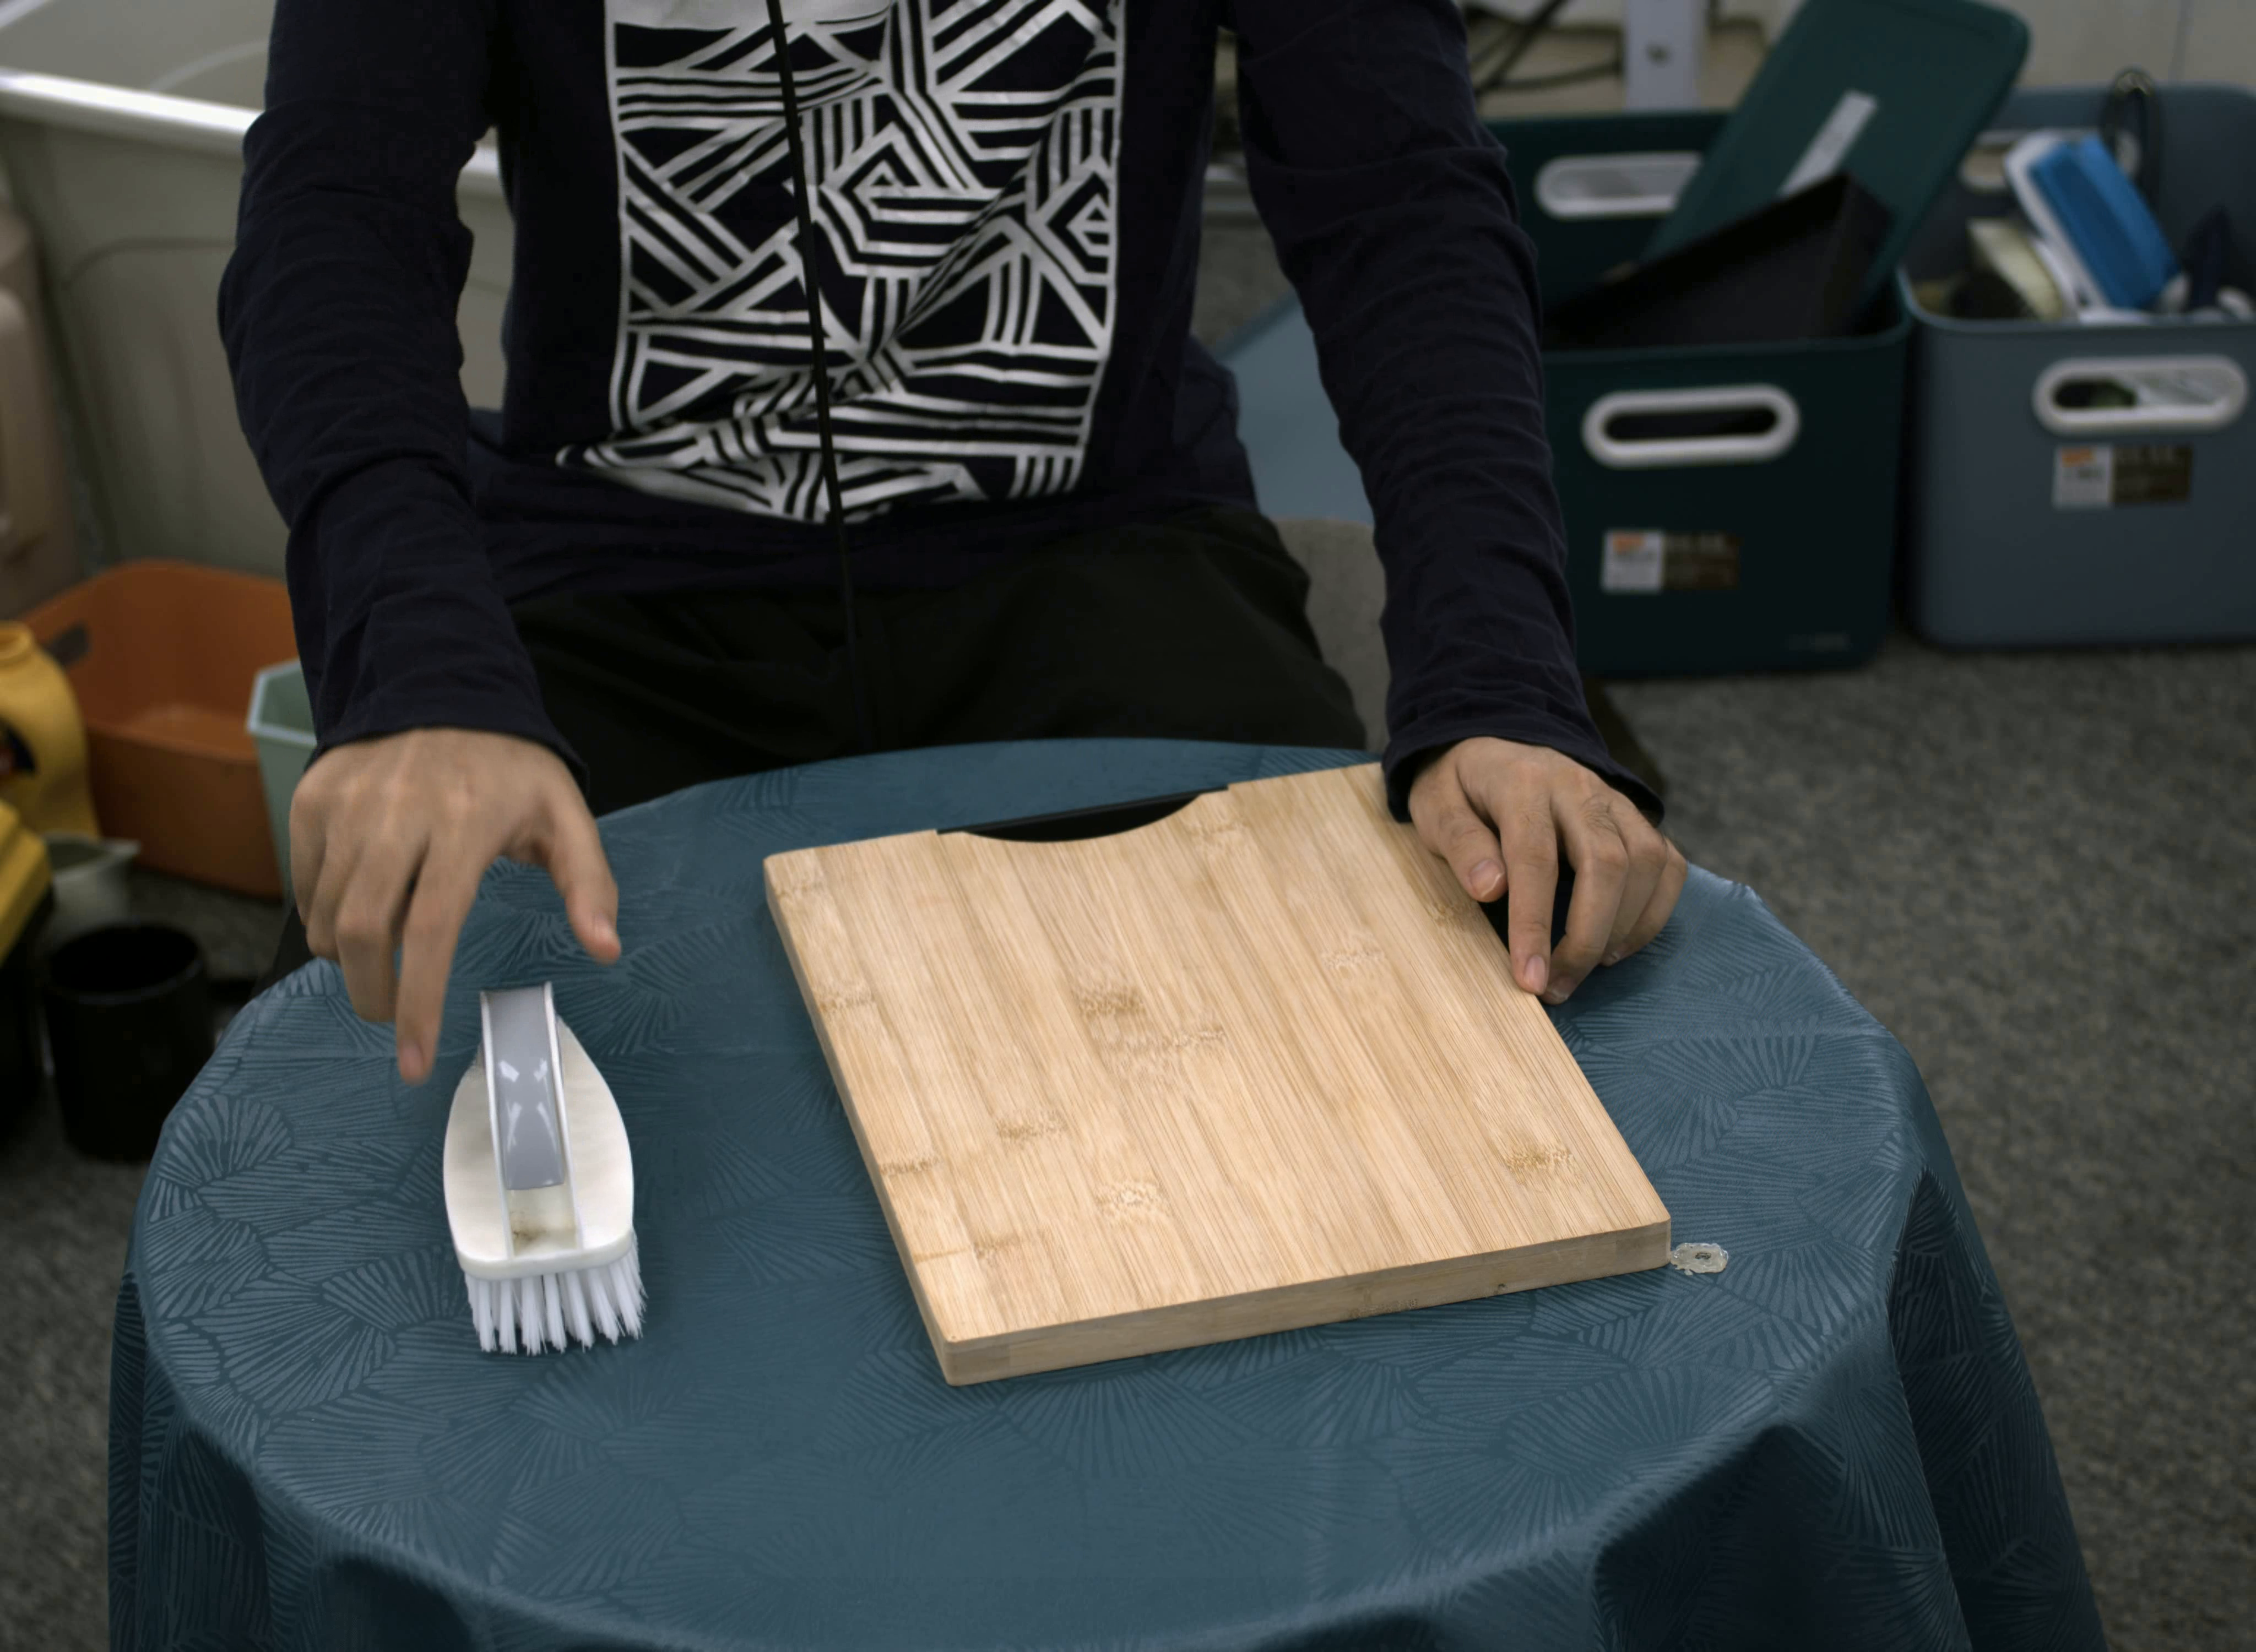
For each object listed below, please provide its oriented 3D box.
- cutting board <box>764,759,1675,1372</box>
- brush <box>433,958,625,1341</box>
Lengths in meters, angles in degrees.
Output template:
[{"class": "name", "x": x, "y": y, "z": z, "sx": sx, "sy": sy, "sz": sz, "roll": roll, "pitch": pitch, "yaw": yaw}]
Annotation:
[{"class": "cutting board", "x": 0.021, "y": 0.076, "z": 1.930, "sx": 0.250, "sy": 0.023, "sz": 0.352, "roll": -8, "pitch": 28, "yaw": -12}, {"class": "brush", "x": -0.199, "y": 0.091, "z": 1.840, "sx": 0.061, "sy": 0.093, "sz": 0.177, "roll": -5, "pitch": 25, "yaw": -7}]
